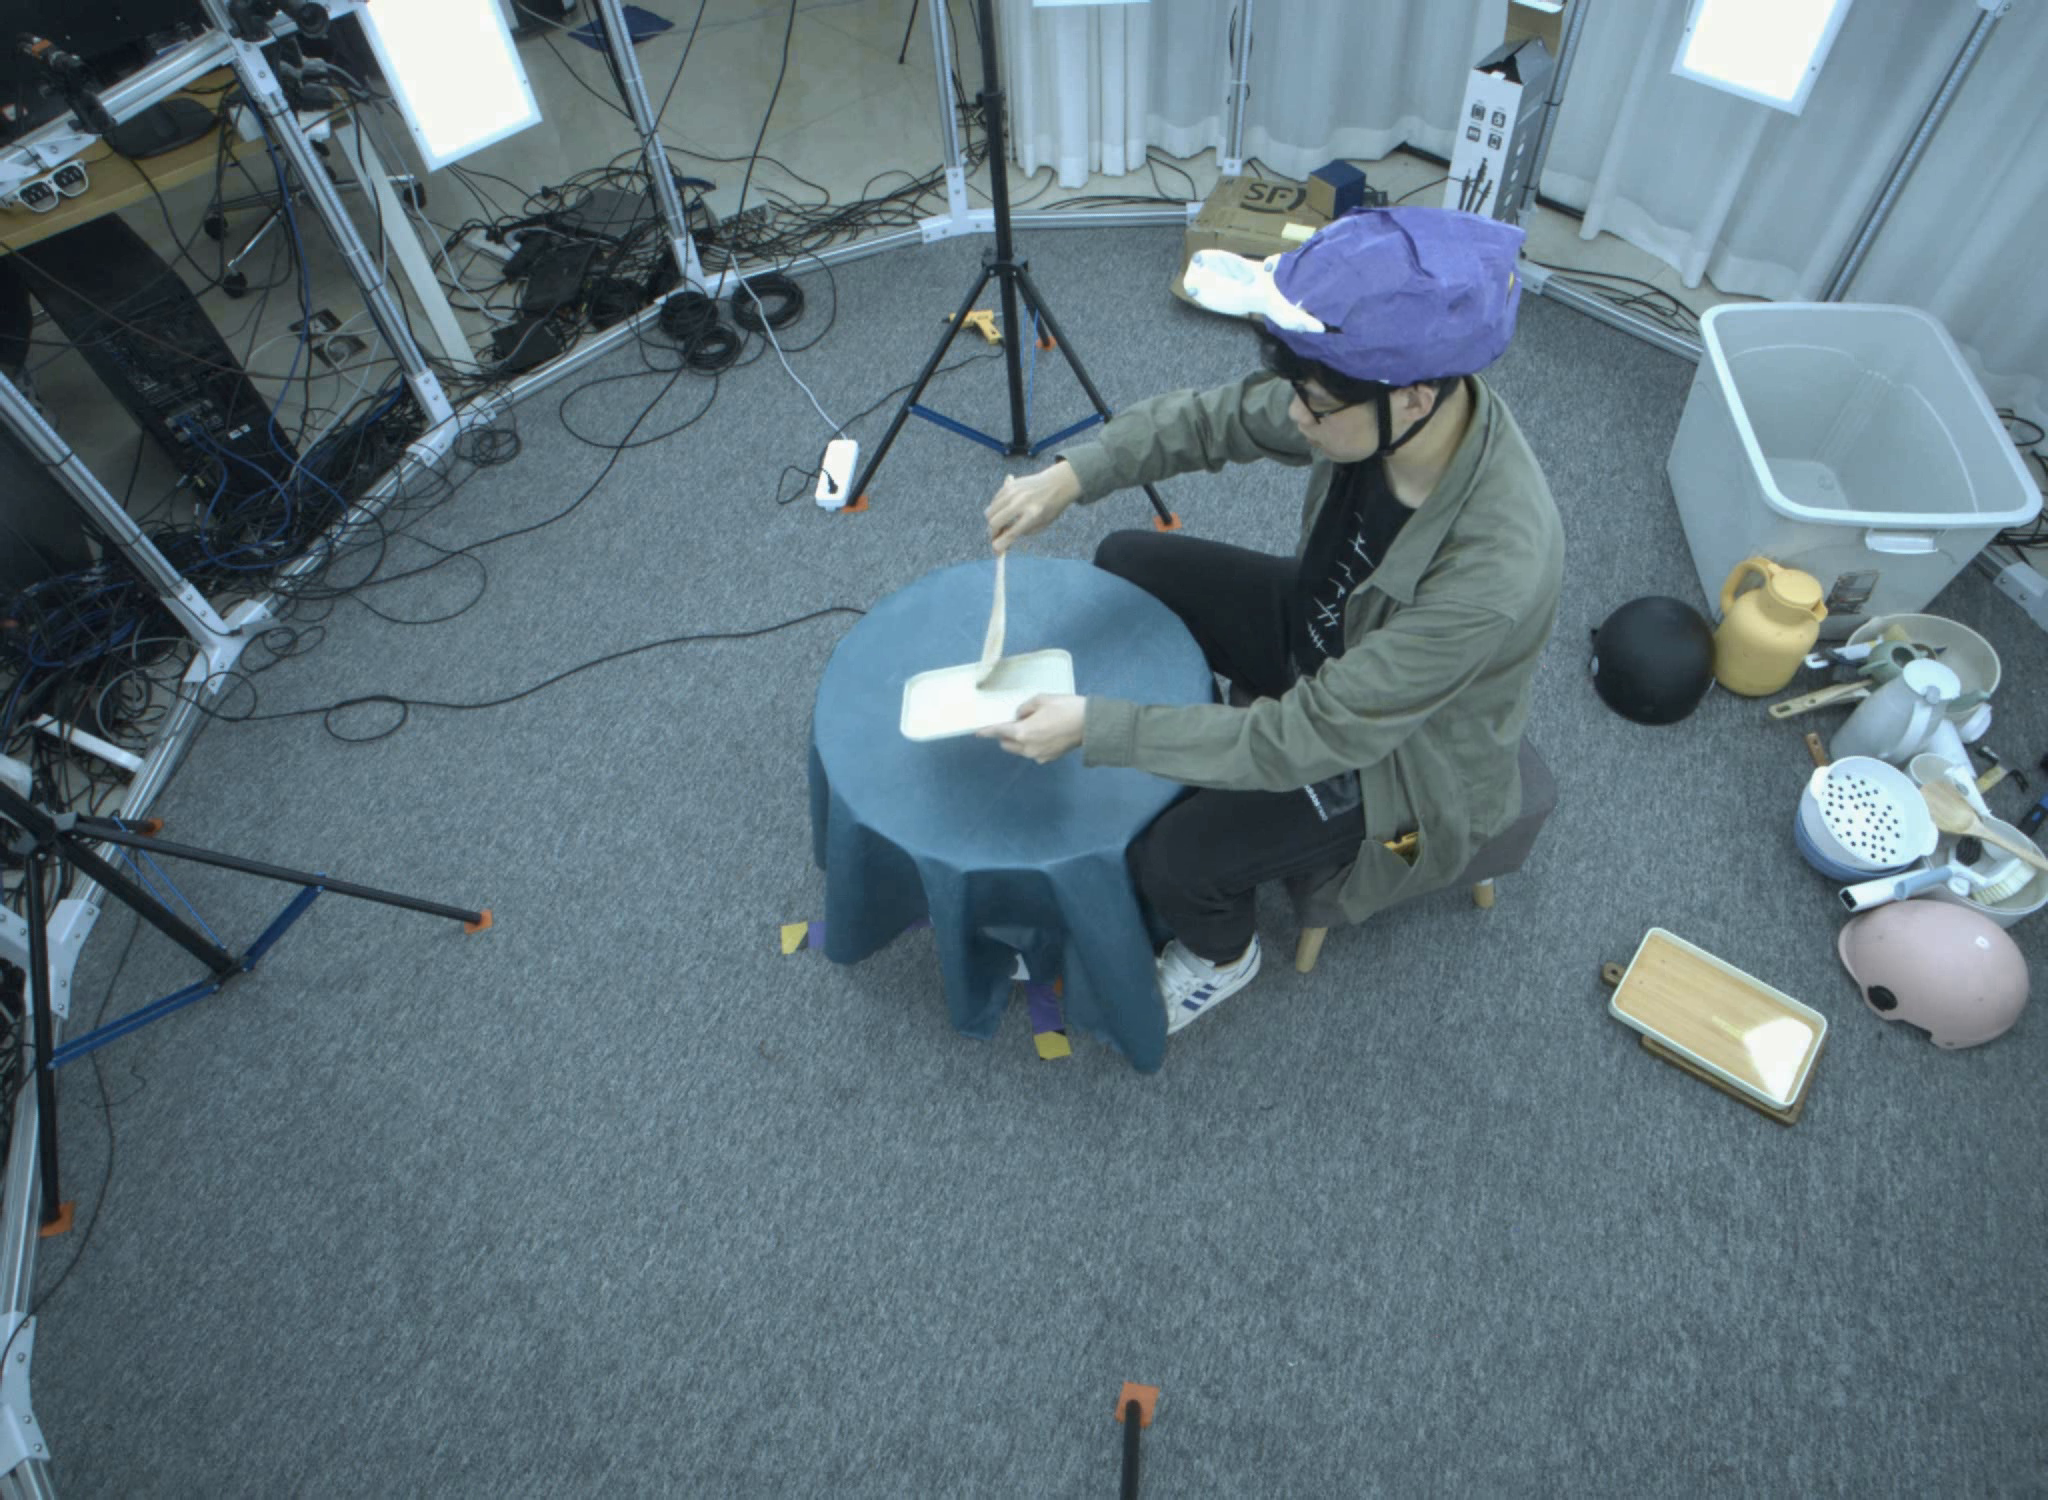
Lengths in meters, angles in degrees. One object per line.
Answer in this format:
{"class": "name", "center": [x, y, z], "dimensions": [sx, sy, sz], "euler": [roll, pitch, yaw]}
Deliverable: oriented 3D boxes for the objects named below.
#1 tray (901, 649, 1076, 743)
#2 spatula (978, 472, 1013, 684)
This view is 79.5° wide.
{"class": "tray", "center": [-0.049, -0.074, 1.686], "dimensions": [0.239, 0.018, 0.169], "euler": [-9, 34, 3]}
{"class": "spatula", "center": [-0.035, -0.254, 1.738], "dimensions": [0.017, 0.079, 0.325], "euler": [11, 71, -22]}
